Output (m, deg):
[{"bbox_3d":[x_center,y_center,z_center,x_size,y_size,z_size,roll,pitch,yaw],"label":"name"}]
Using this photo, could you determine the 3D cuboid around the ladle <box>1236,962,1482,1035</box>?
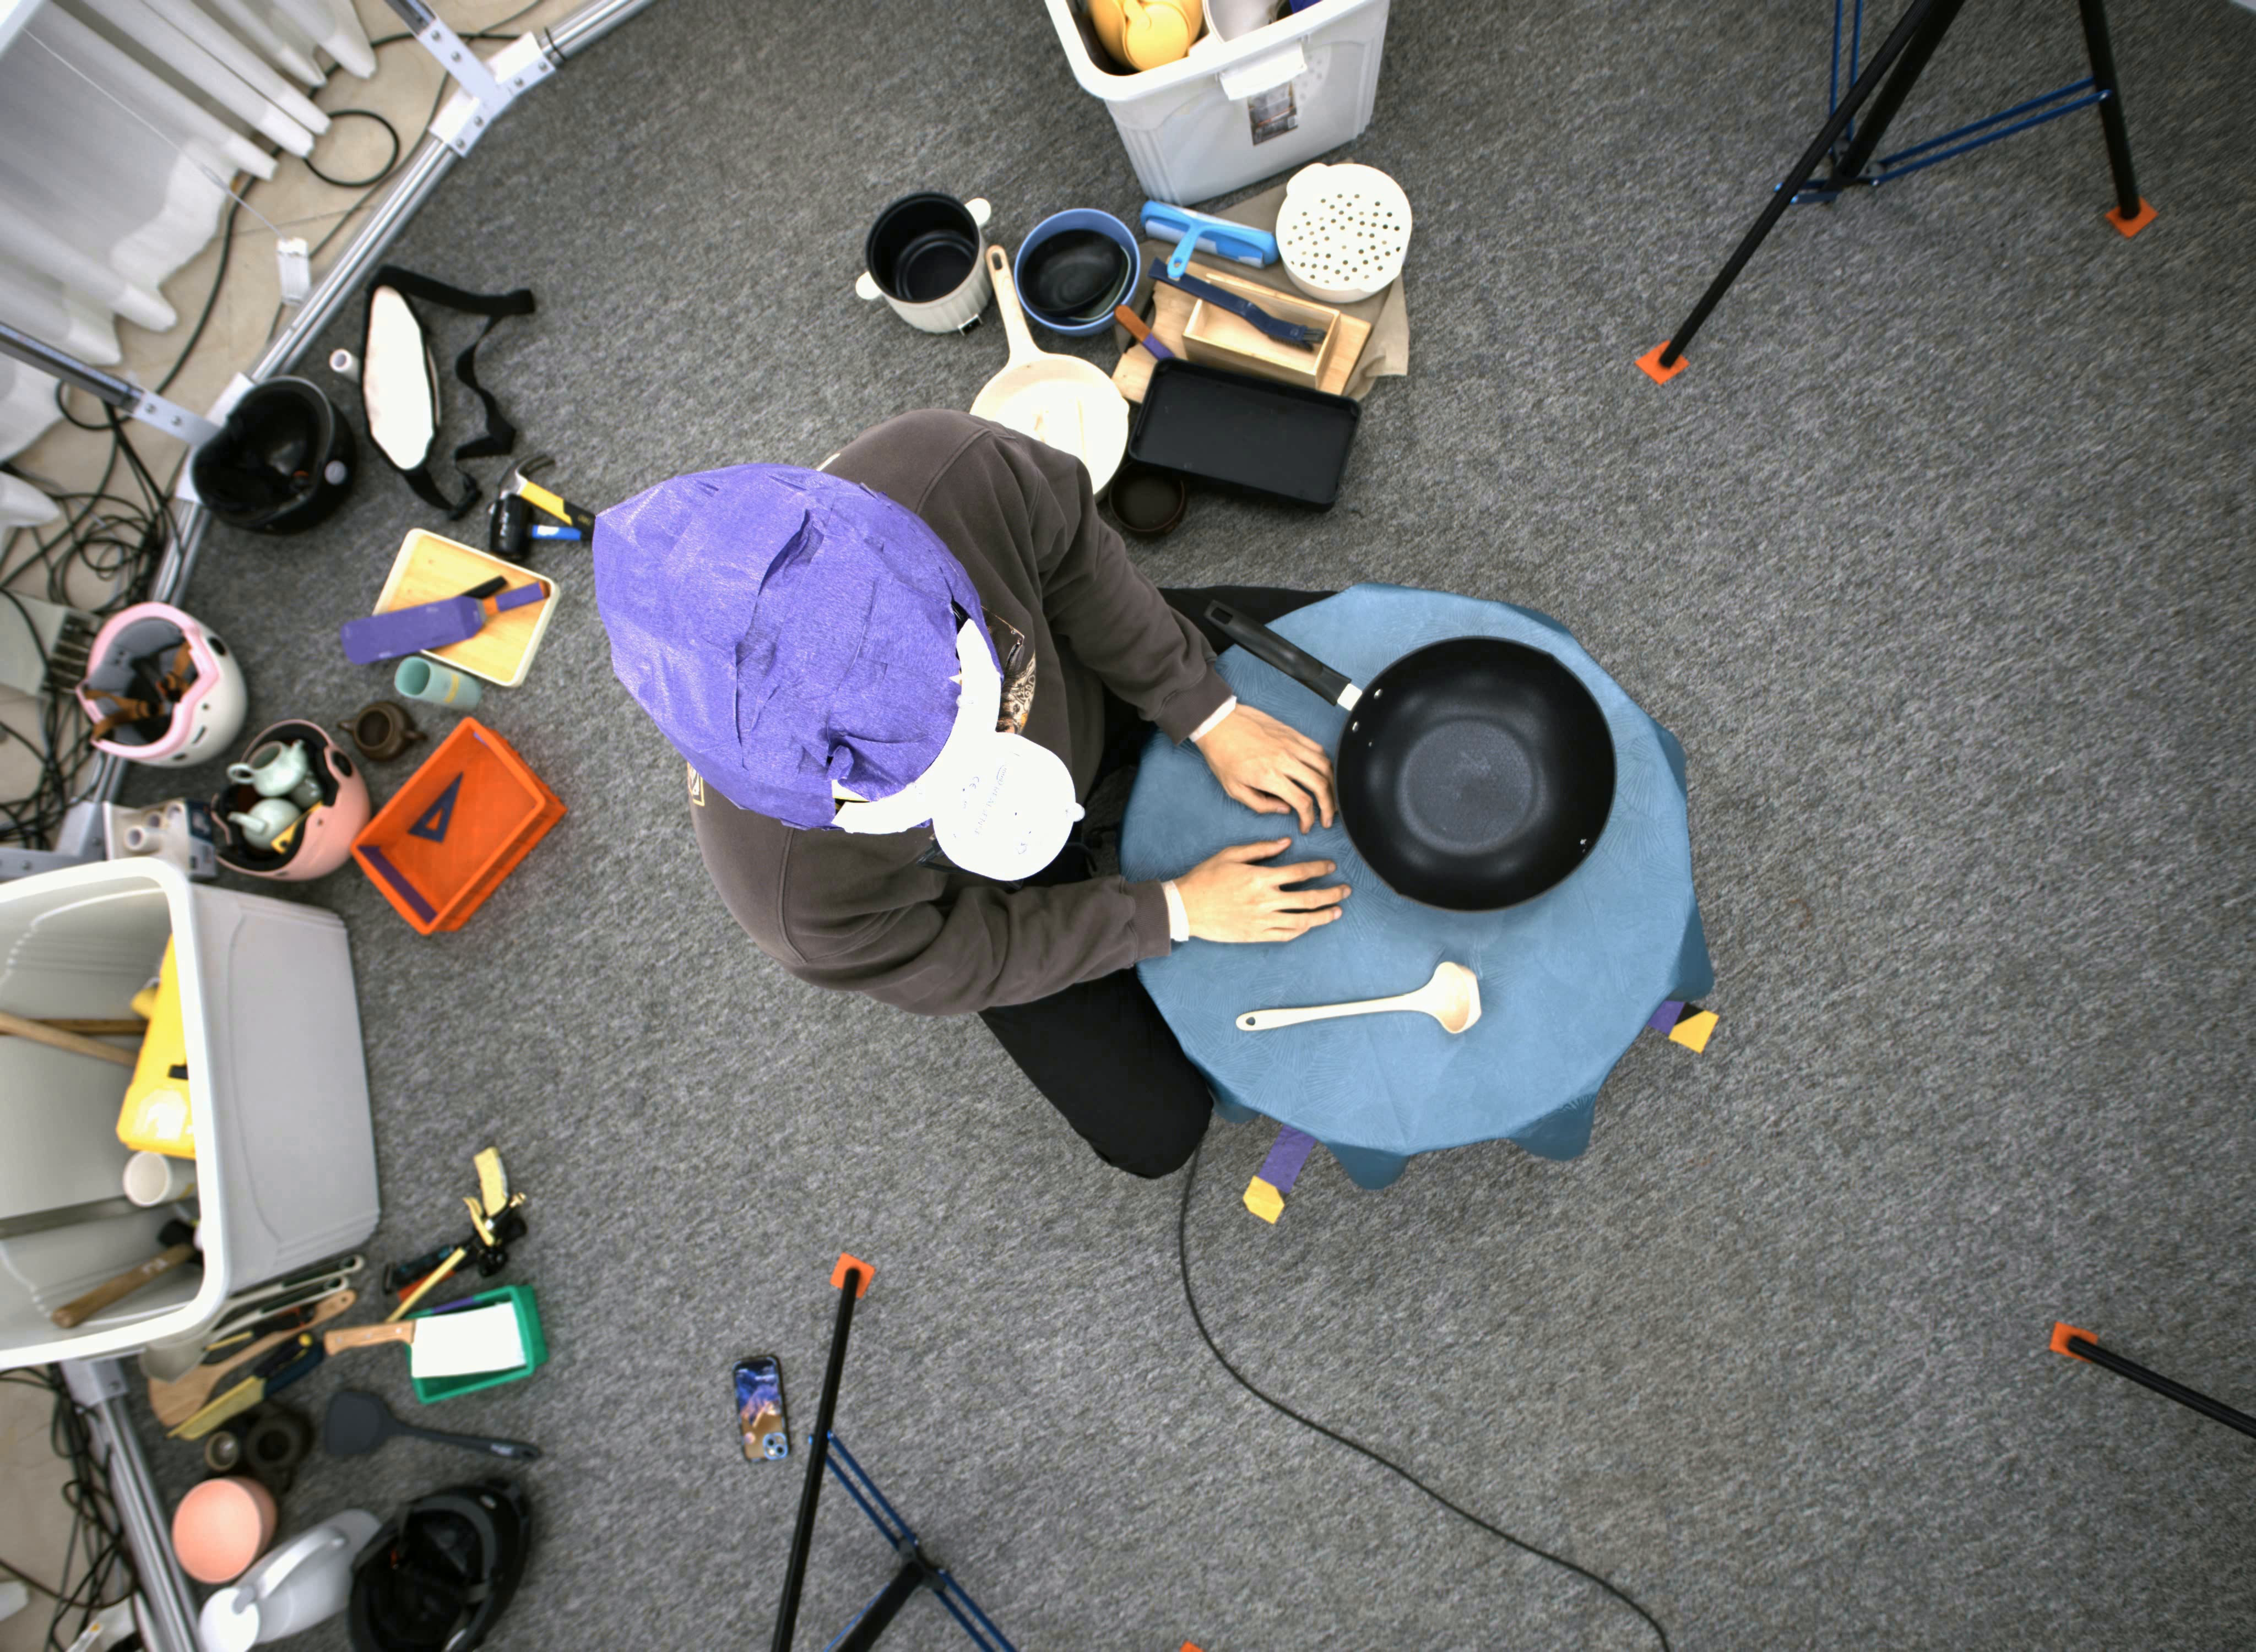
[{"bbox_3d":[0.235,0.191,1.421,0.255,0.072,0.072,-11,90,8],"label":"ladle"}]

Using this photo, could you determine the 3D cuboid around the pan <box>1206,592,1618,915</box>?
[{"bbox_3d":[0.276,-0.099,1.422,0.462,0.087,0.289,34,94,11],"label":"pan"}]
